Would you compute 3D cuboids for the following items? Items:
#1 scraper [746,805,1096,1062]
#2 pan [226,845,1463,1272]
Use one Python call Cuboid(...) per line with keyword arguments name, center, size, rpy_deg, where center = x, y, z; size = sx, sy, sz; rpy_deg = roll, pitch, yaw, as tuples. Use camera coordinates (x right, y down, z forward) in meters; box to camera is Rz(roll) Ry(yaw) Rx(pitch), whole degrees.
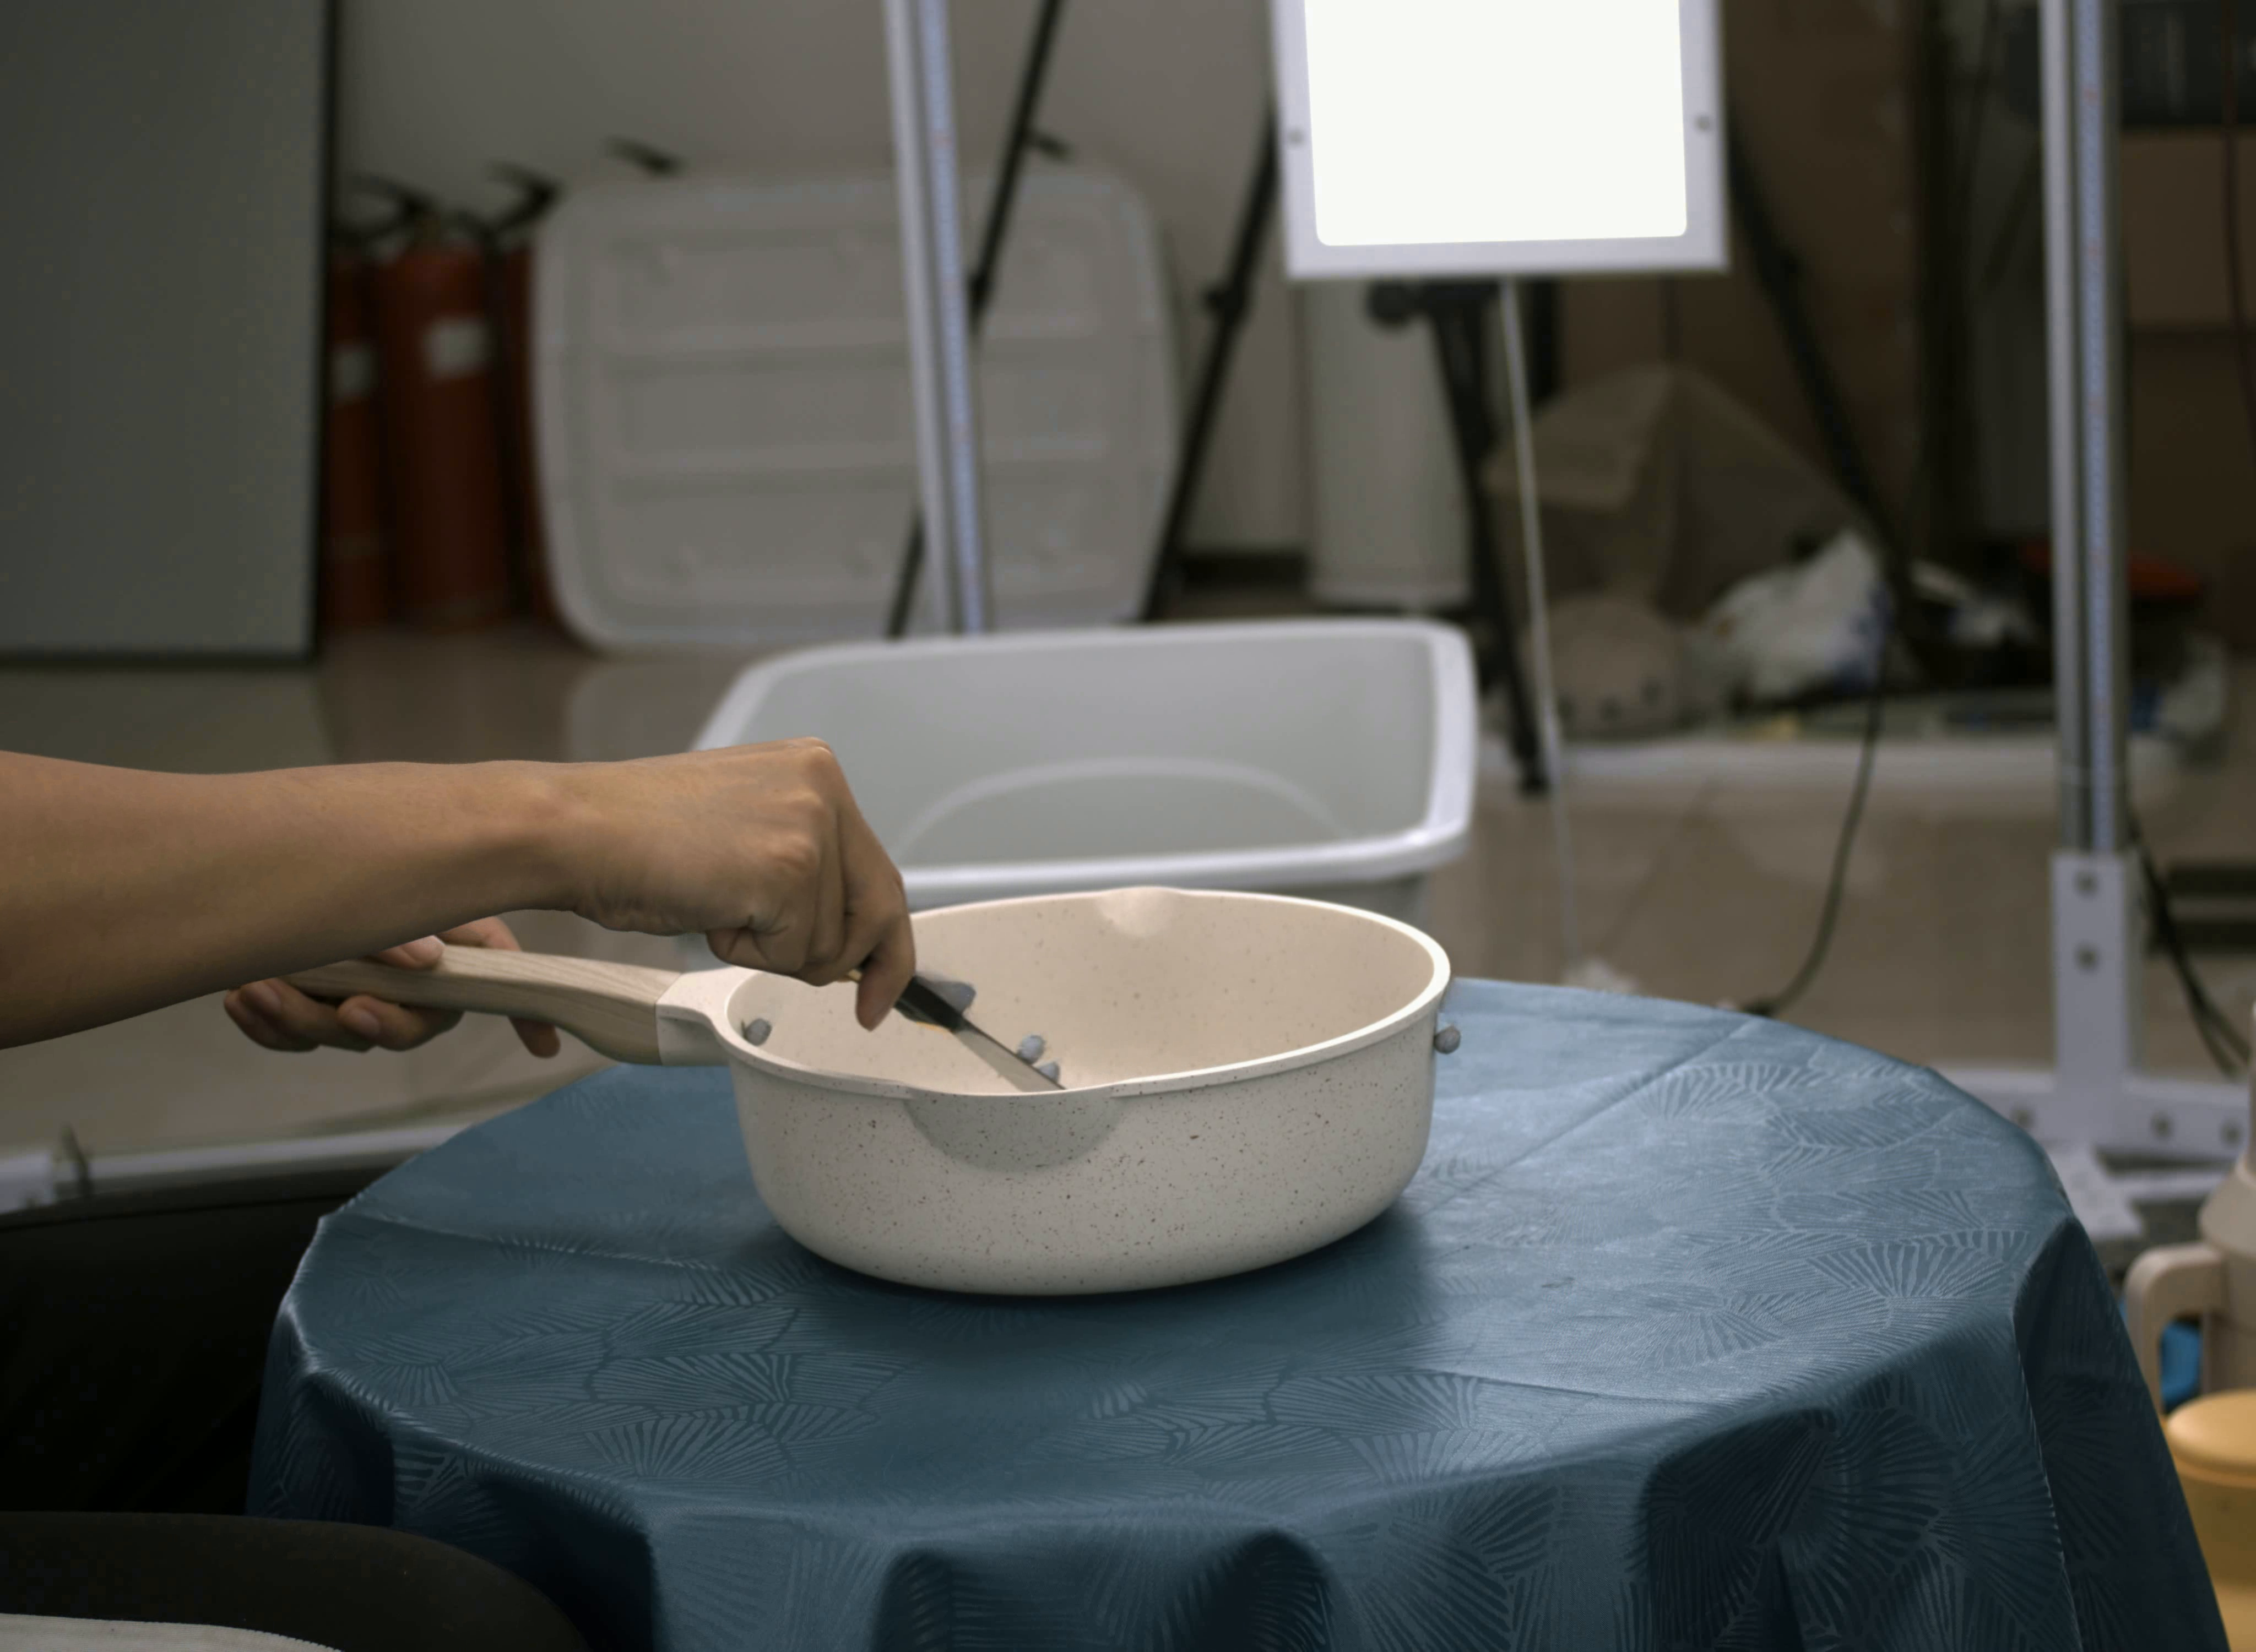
Cuboid(name="scraper", center=(-0.065, 0.039, 1.781), size=(0.039, 0.015, 0.168), rpy_deg=(23, -12, 49))
Cuboid(name="pan", center=(-0.098, 0.078, 1.909), size=(0.438, 0.102, 0.260), rpy_deg=(-2, 16, 12))
